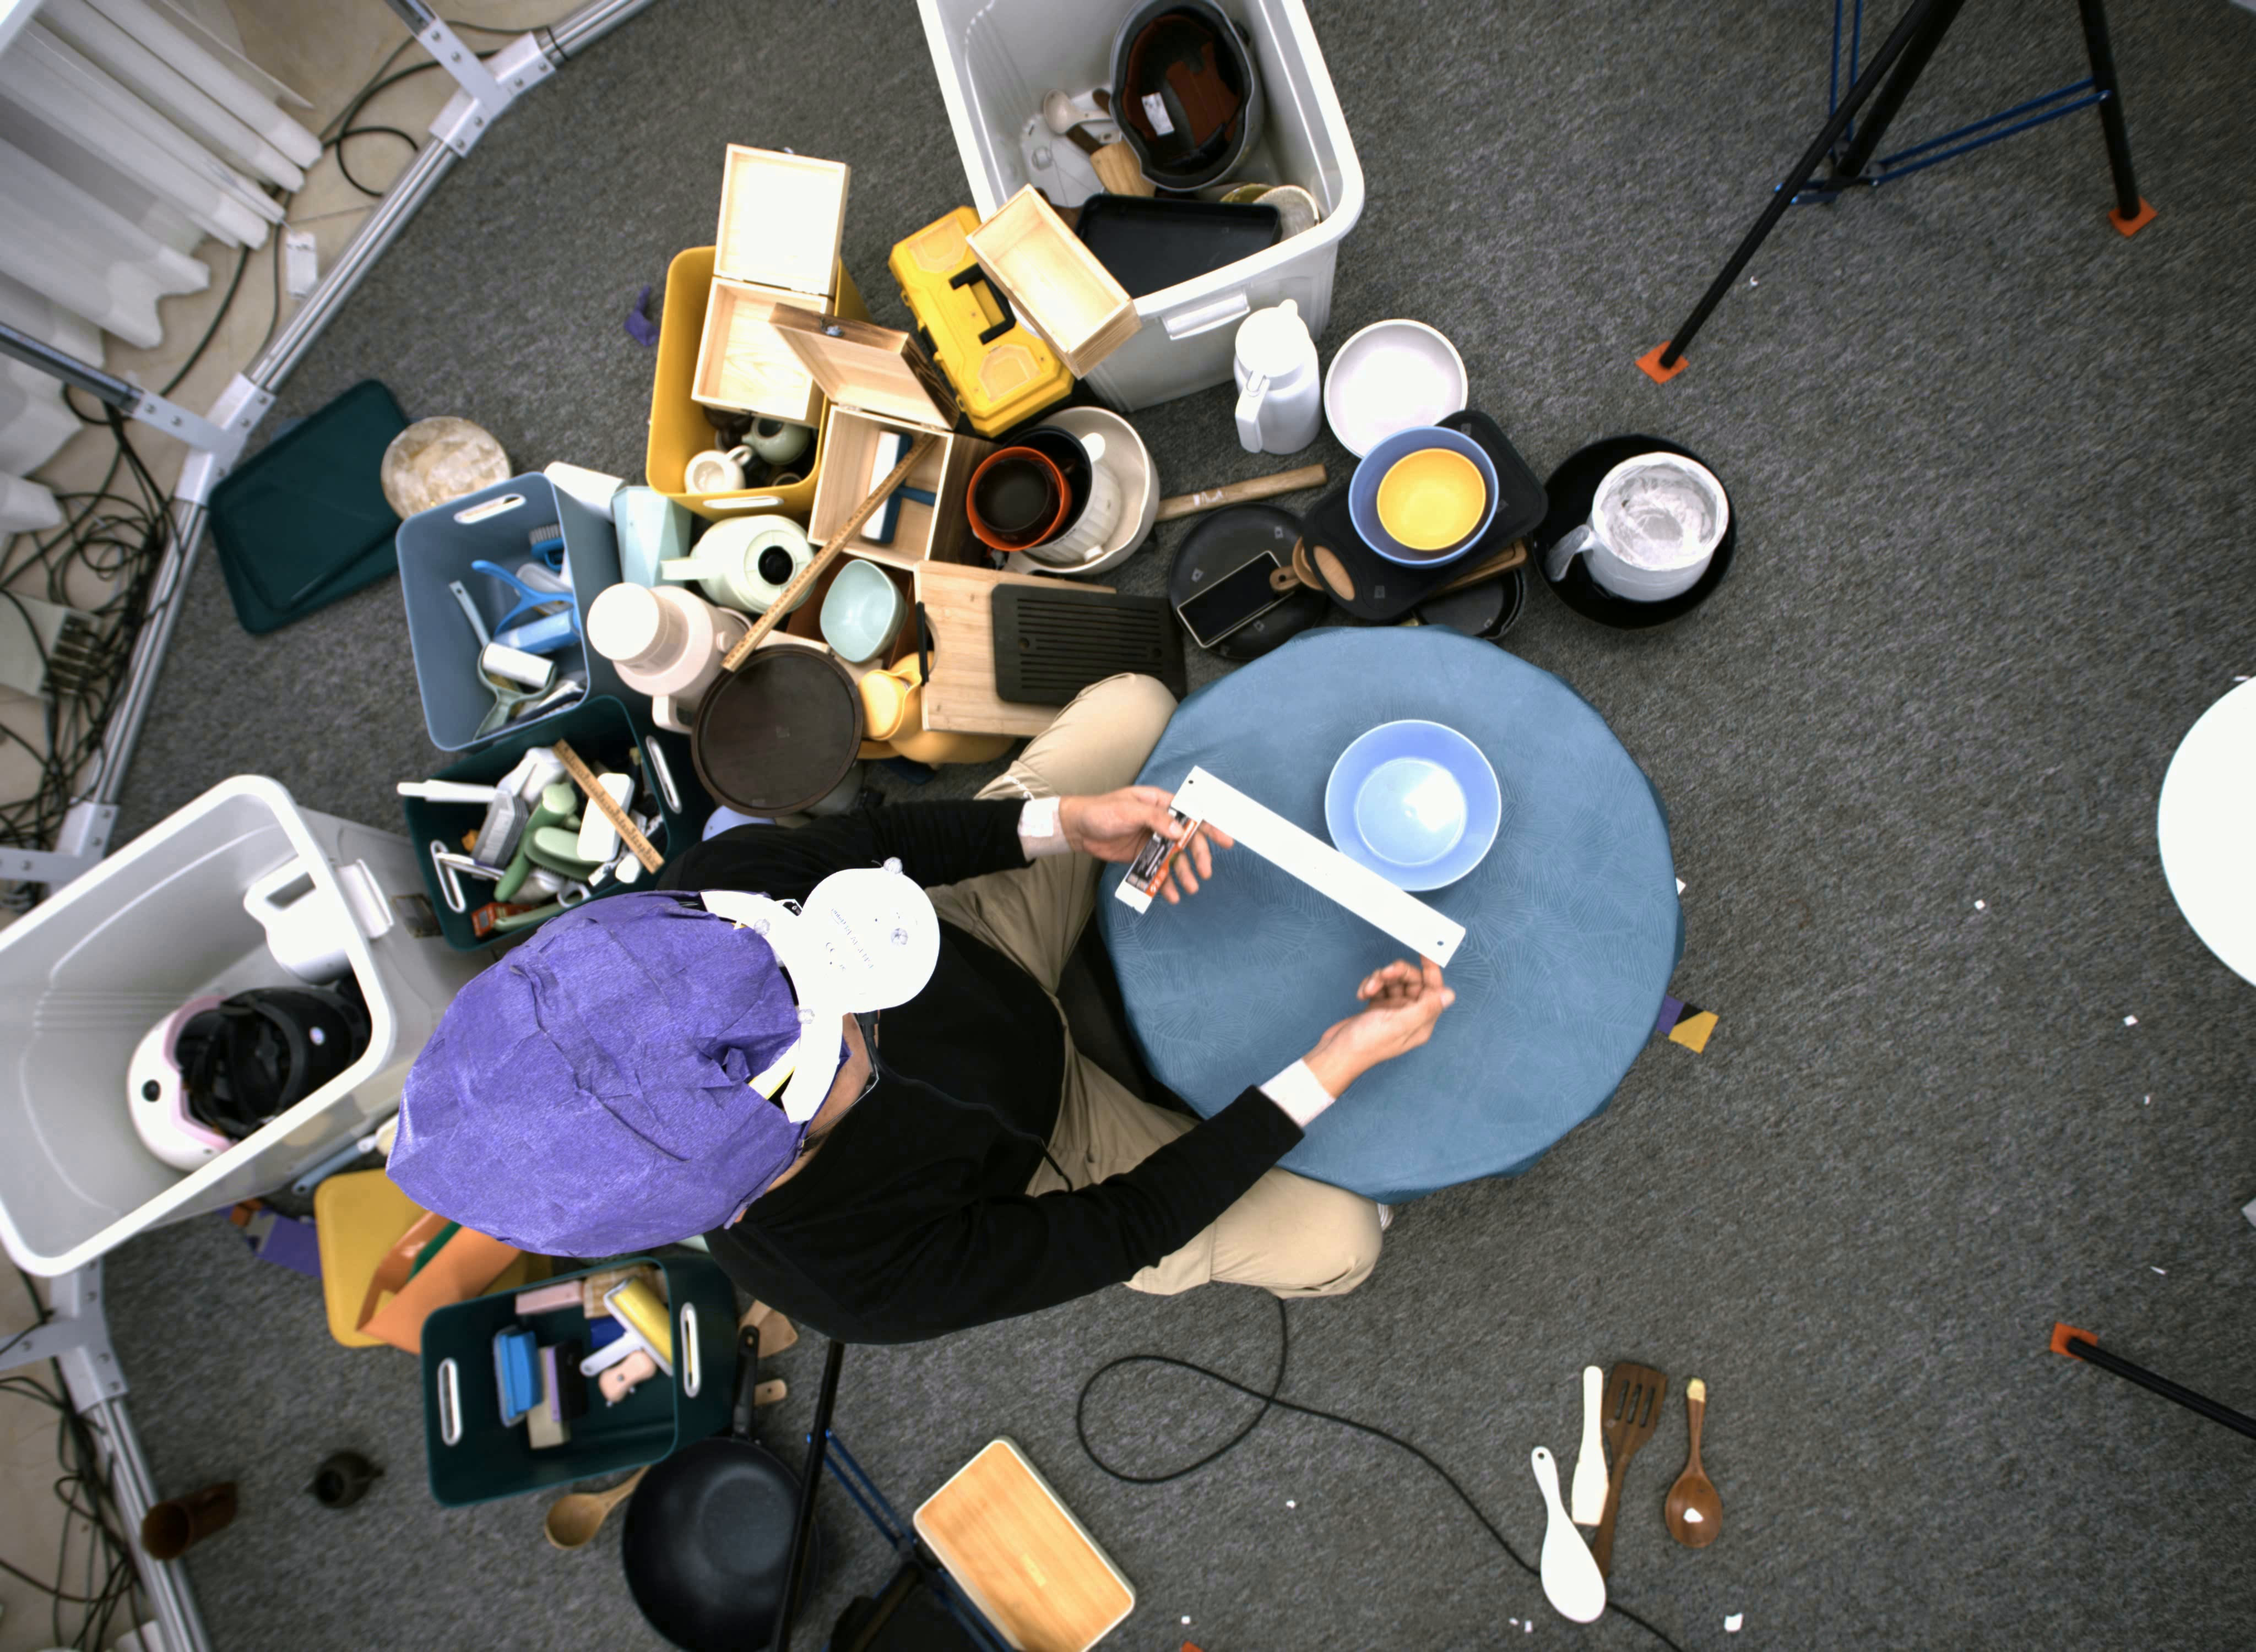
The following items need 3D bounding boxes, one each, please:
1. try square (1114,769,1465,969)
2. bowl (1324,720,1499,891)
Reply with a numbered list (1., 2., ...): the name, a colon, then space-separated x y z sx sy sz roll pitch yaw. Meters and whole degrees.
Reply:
1. try square: 0.155 0.086 1.356 0.312 0.016 0.153 32 96 7
2. bowl: 0.292 -0.019 1.426 0.177 0.070 0.175 -1 86 10
